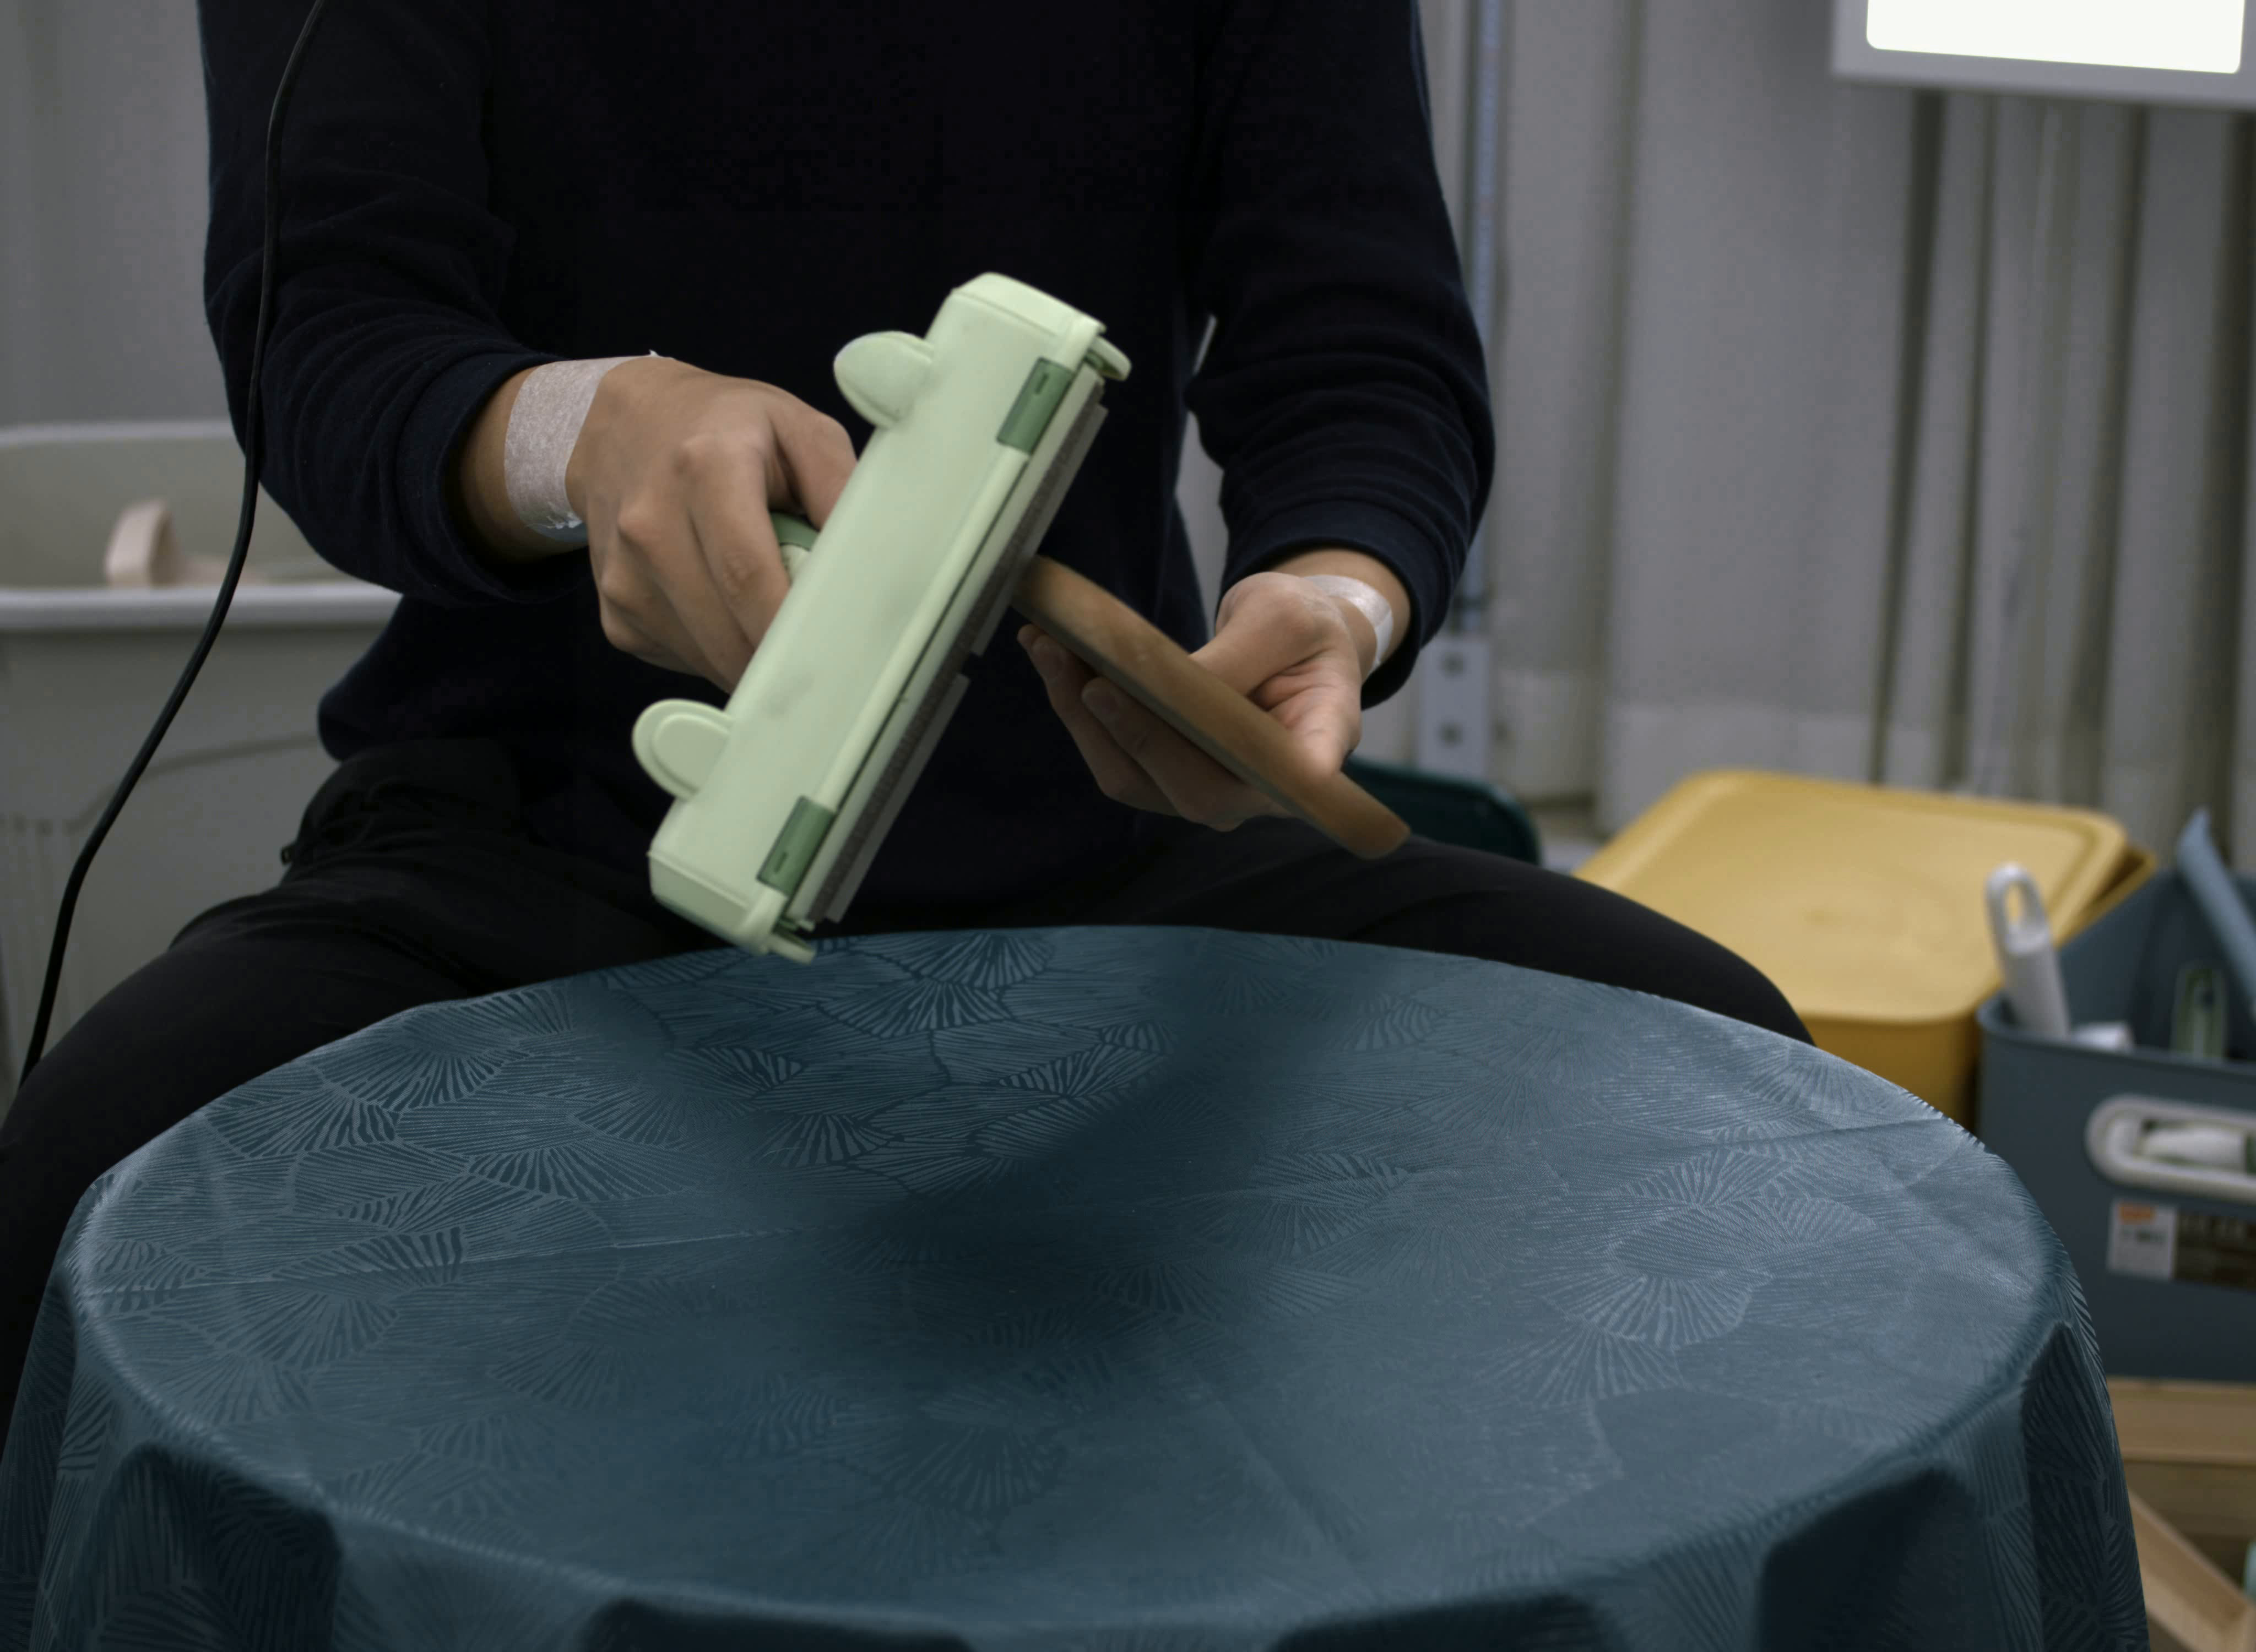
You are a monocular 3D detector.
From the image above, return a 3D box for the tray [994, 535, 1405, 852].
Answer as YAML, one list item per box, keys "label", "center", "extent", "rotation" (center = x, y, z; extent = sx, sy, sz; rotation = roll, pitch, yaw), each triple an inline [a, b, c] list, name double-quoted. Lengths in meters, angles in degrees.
- label: "tray"
  center: [0.005, -0.047, 1.538]
  extent: [0.131, 0.023, 0.249]
  rotation: [40, -1, -13]

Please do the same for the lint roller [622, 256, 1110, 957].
- label: "lint roller"
  center: [-0.105, -0.076, 1.472]
  extent: [0.083, 0.199, 0.181]
  rotation: [30, -4, -40]
